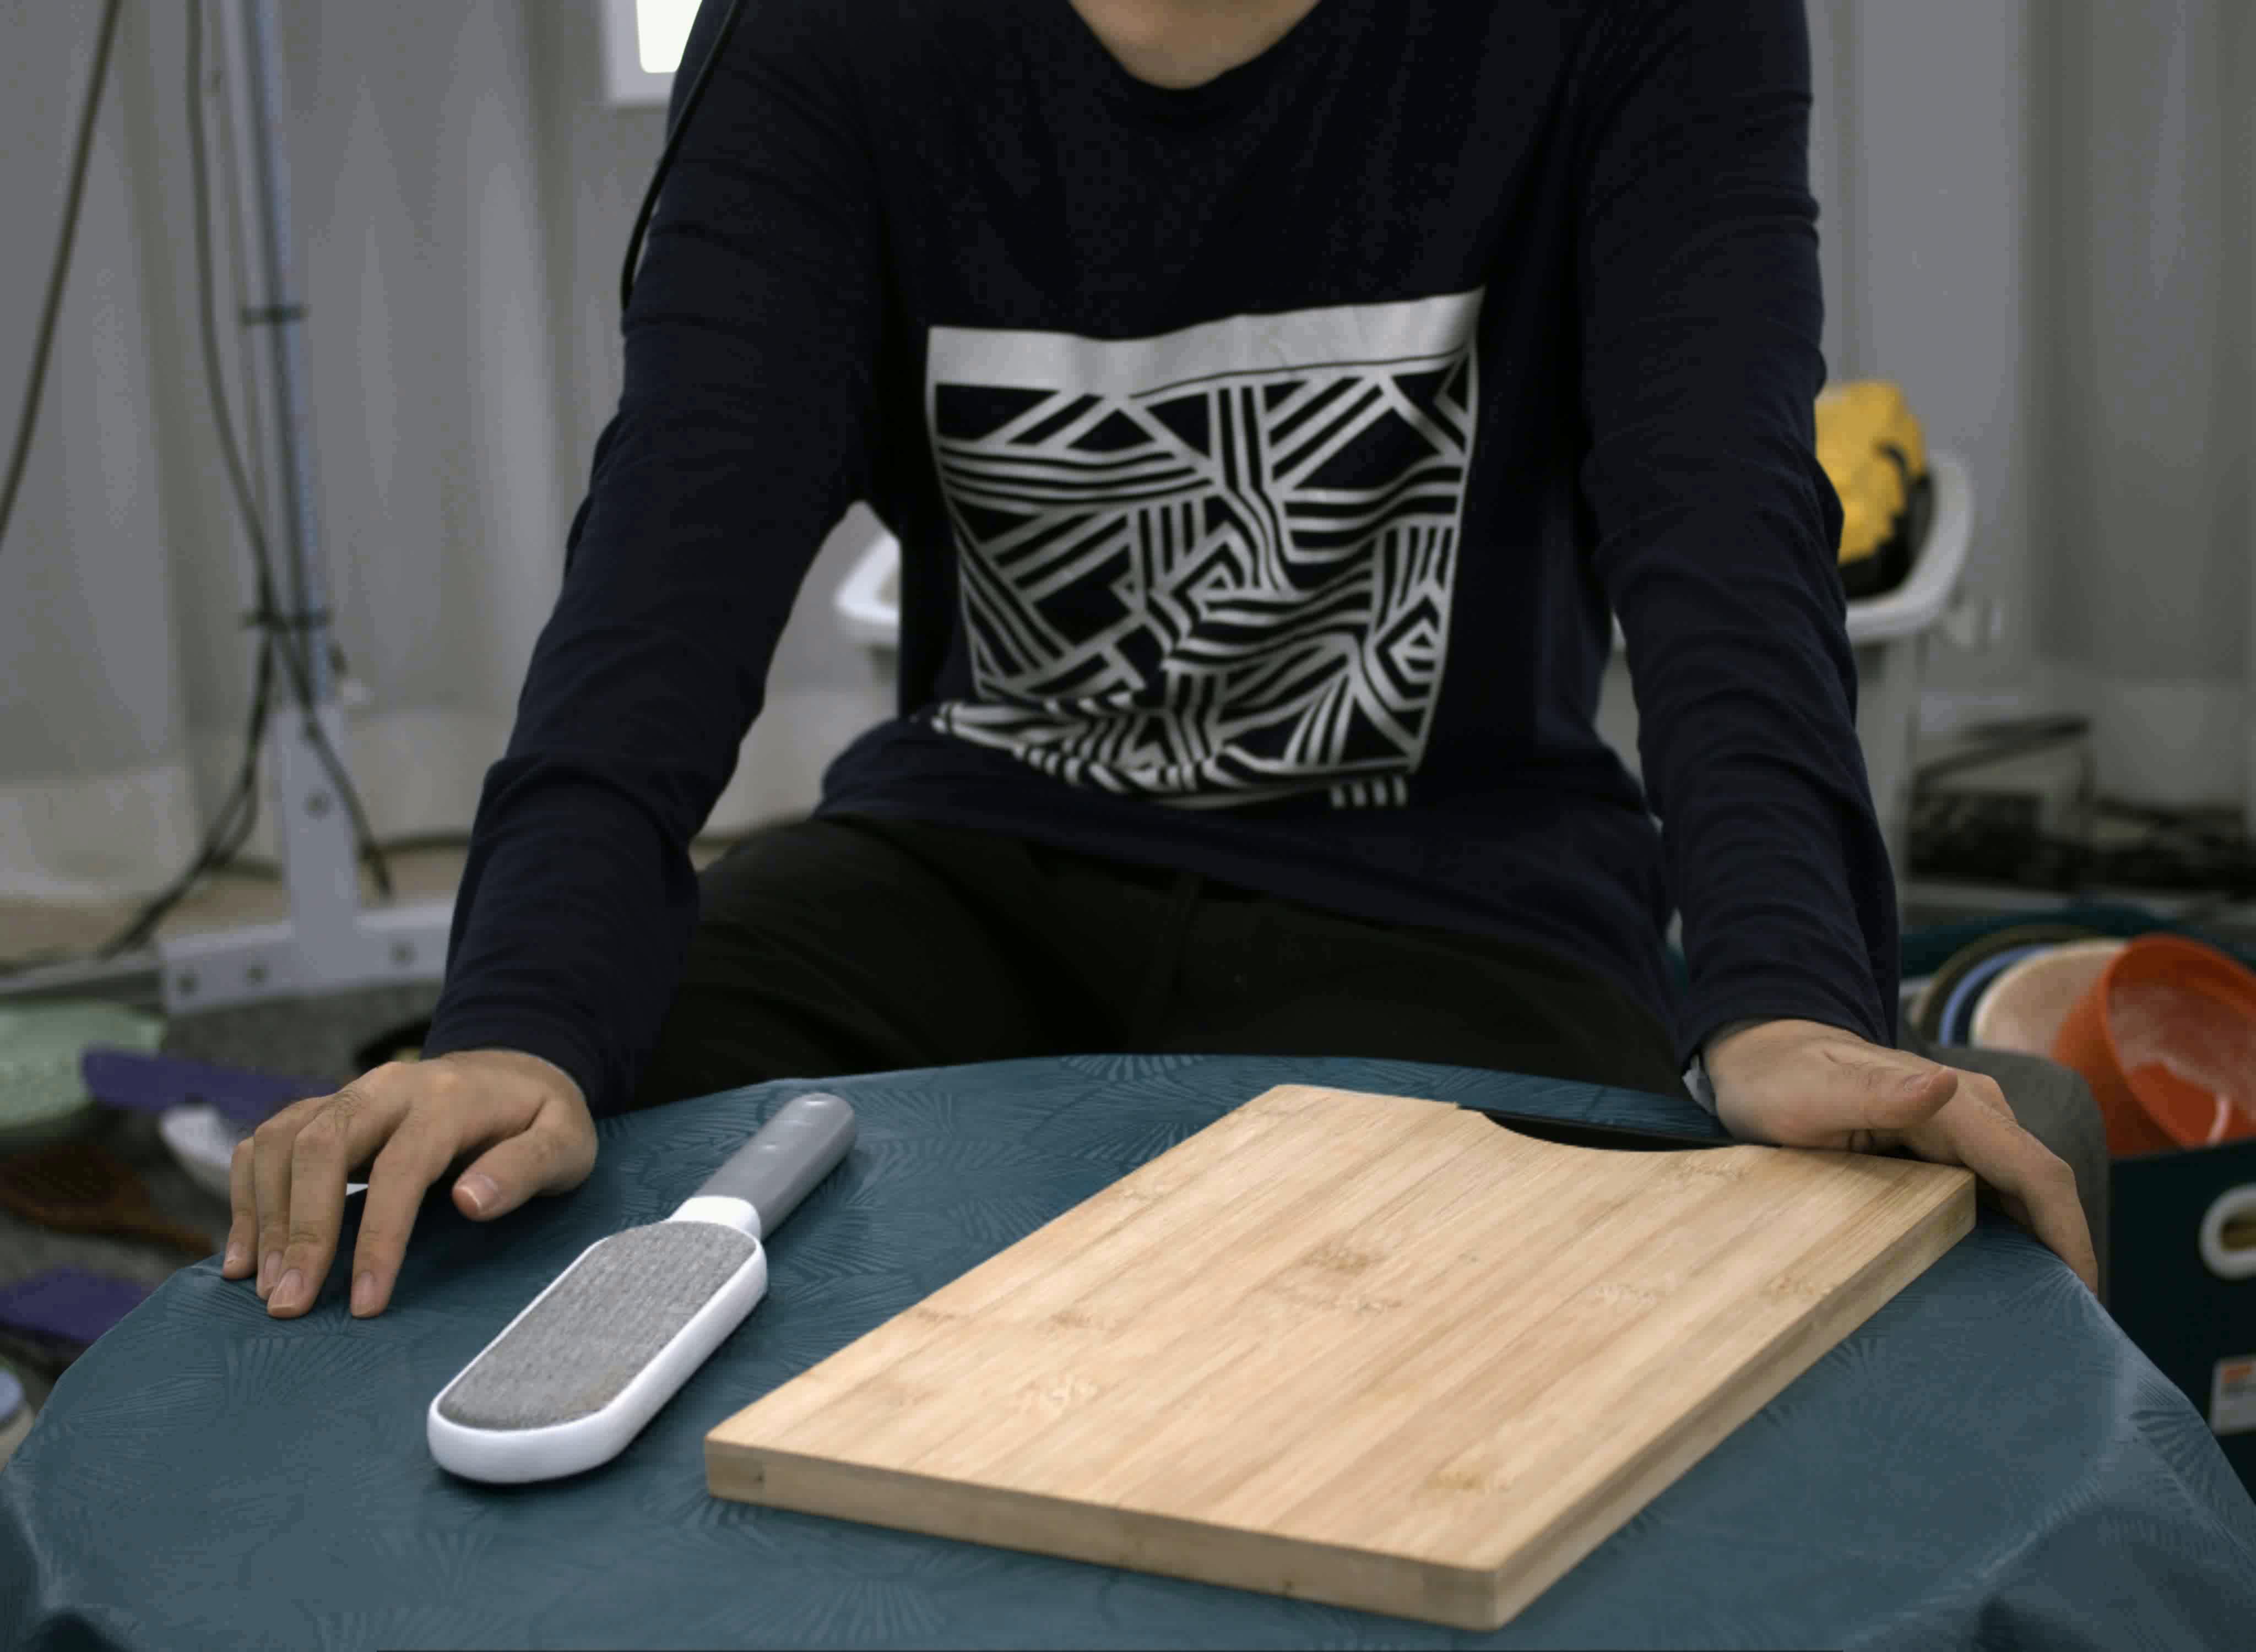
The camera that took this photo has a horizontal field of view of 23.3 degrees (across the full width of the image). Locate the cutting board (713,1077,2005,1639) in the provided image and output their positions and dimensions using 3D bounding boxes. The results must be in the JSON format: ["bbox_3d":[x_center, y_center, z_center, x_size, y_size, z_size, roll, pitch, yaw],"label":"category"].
[{"bbox_3d":[0.074,0.143,1.568,0.251,0.023,0.349,6,17,28],"label":"cutting board"}]

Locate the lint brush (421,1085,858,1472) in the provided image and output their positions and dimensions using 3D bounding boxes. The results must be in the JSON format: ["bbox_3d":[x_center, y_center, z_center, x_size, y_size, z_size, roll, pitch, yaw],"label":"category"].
[{"bbox_3d":[-0.134,0.131,1.630,0.060,0.021,0.310,-4,14,16],"label":"lint brush"}]
